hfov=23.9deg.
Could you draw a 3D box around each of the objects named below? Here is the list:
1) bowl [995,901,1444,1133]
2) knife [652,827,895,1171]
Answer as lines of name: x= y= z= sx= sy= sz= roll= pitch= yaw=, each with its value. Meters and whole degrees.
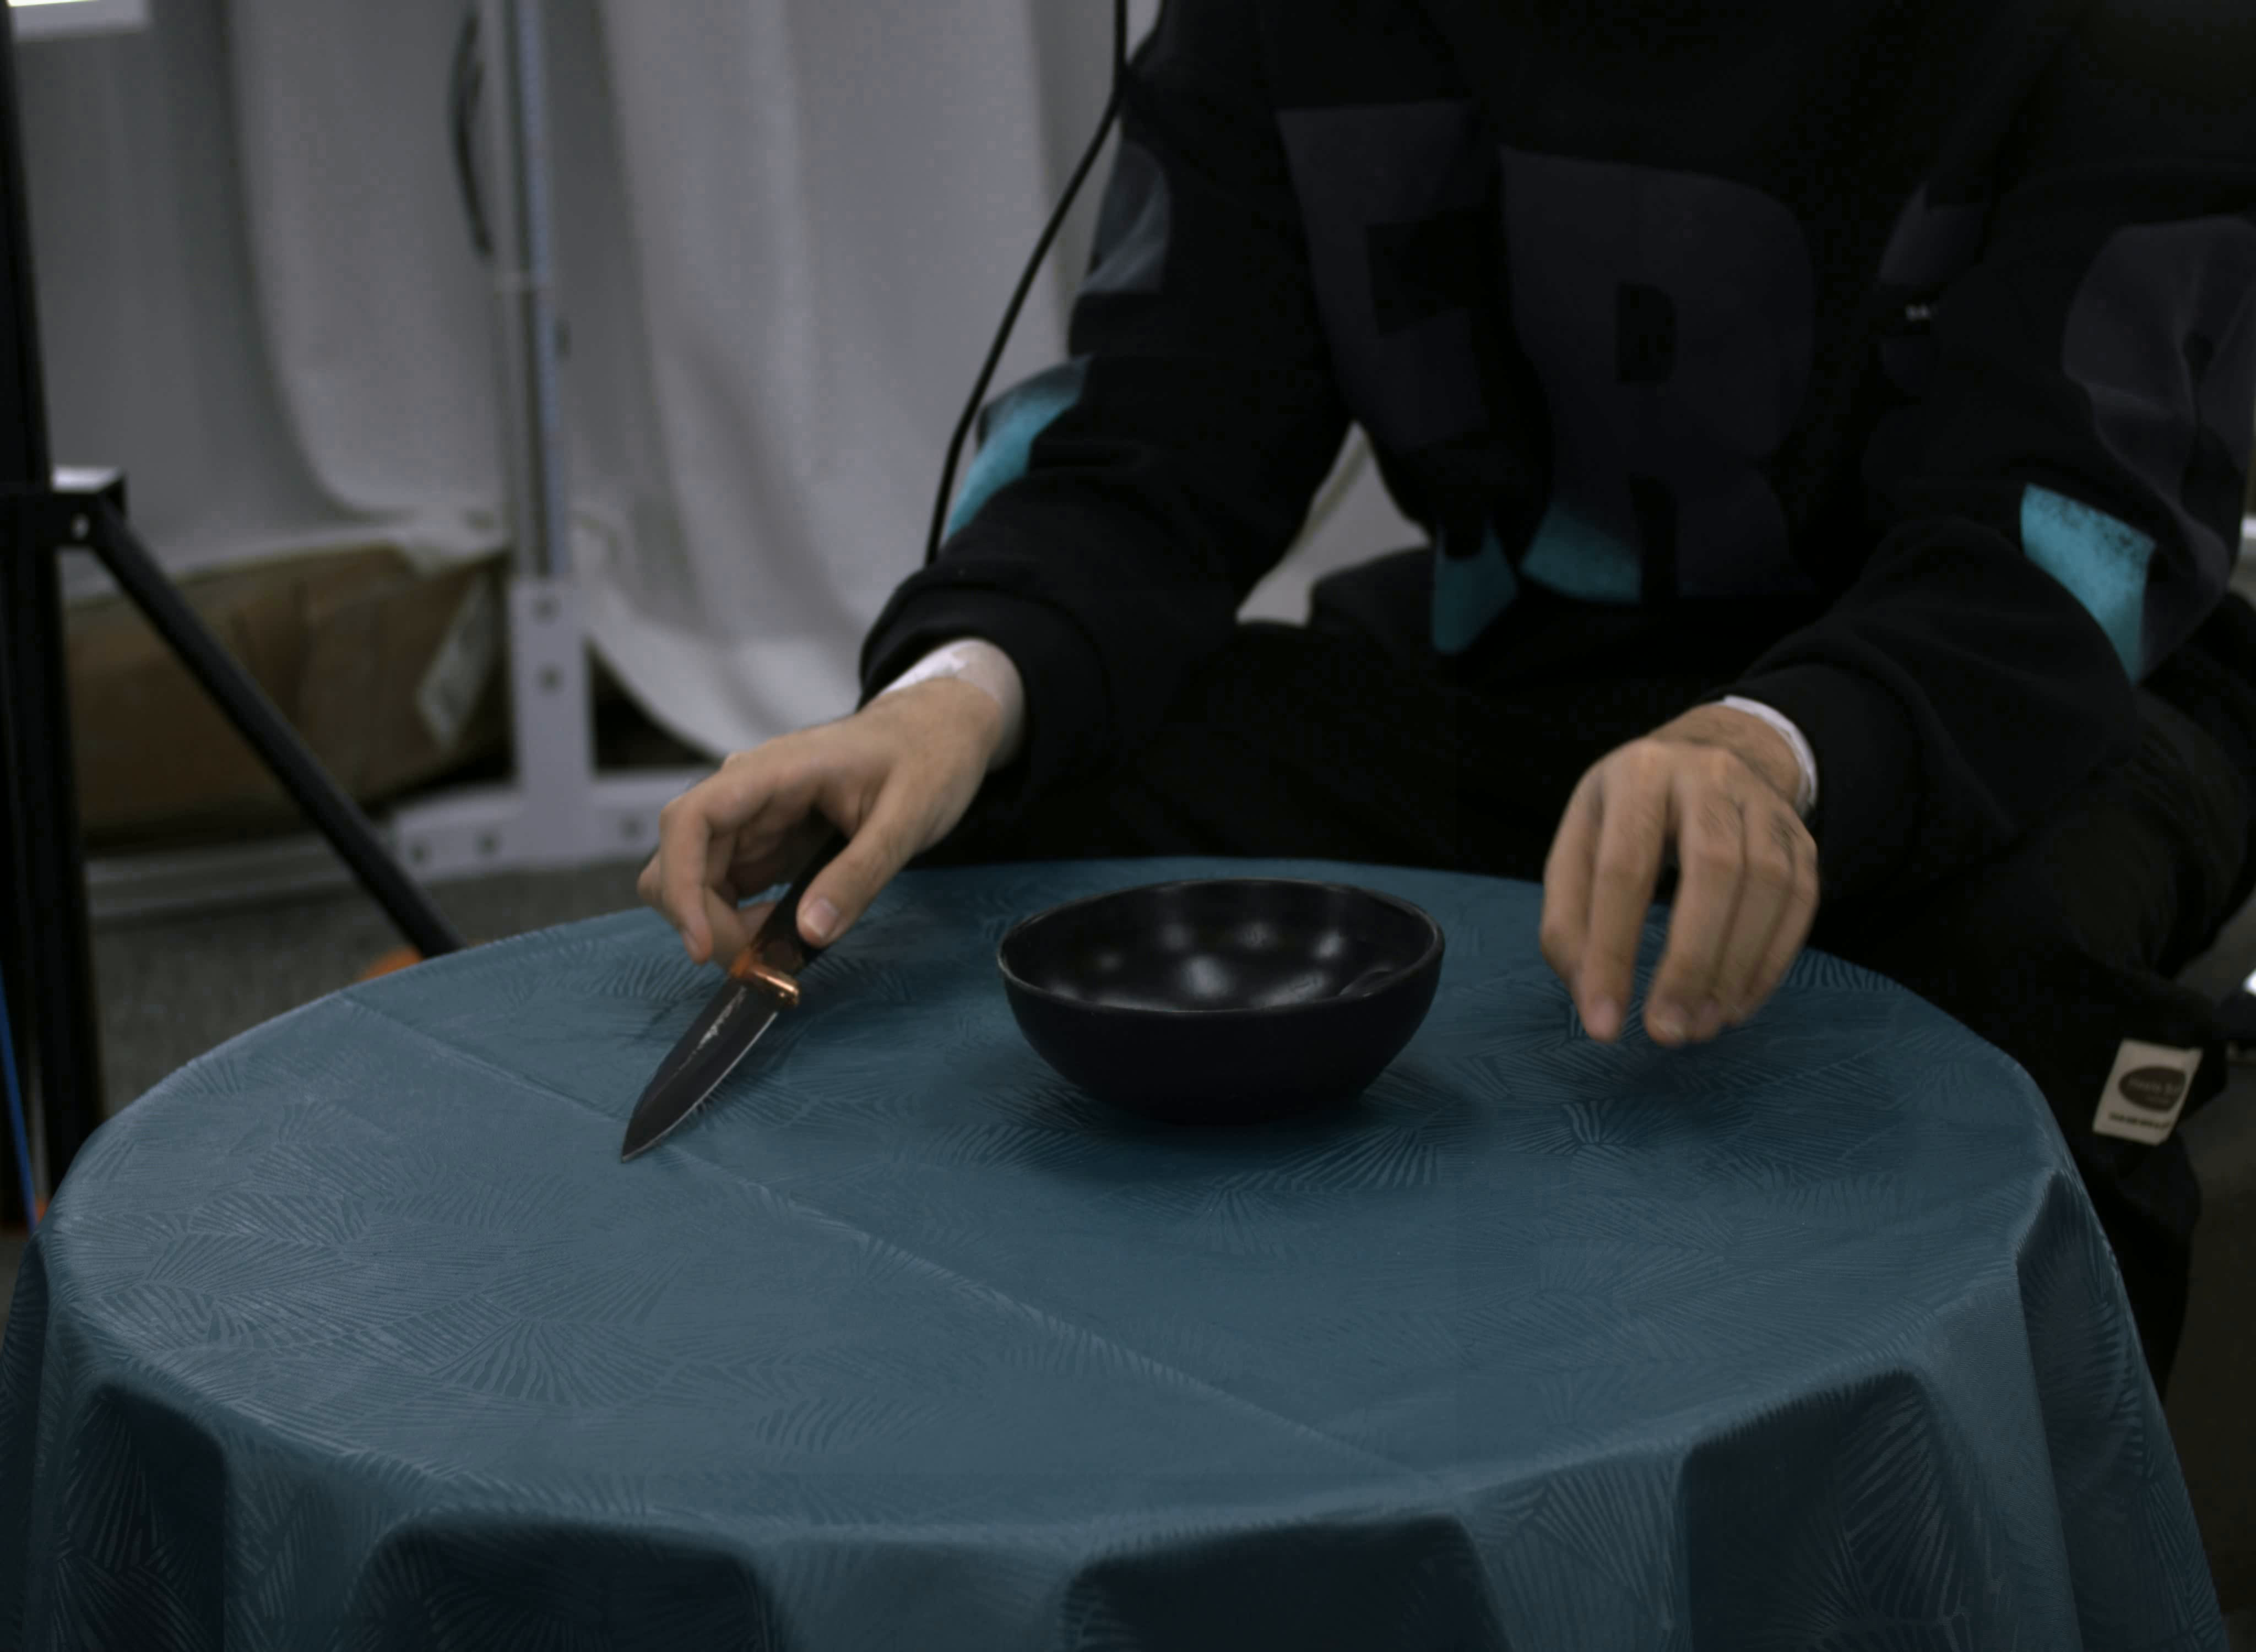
bowl: x=0.029 y=0.062 z=1.635 sx=0.139 sy=0.050 sz=0.140 roll=-3 pitch=11 yaw=-1
knife: x=-0.116 y=0.053 z=1.698 sx=0.026 sy=0.017 sz=0.224 roll=16 pitch=29 yaw=10
